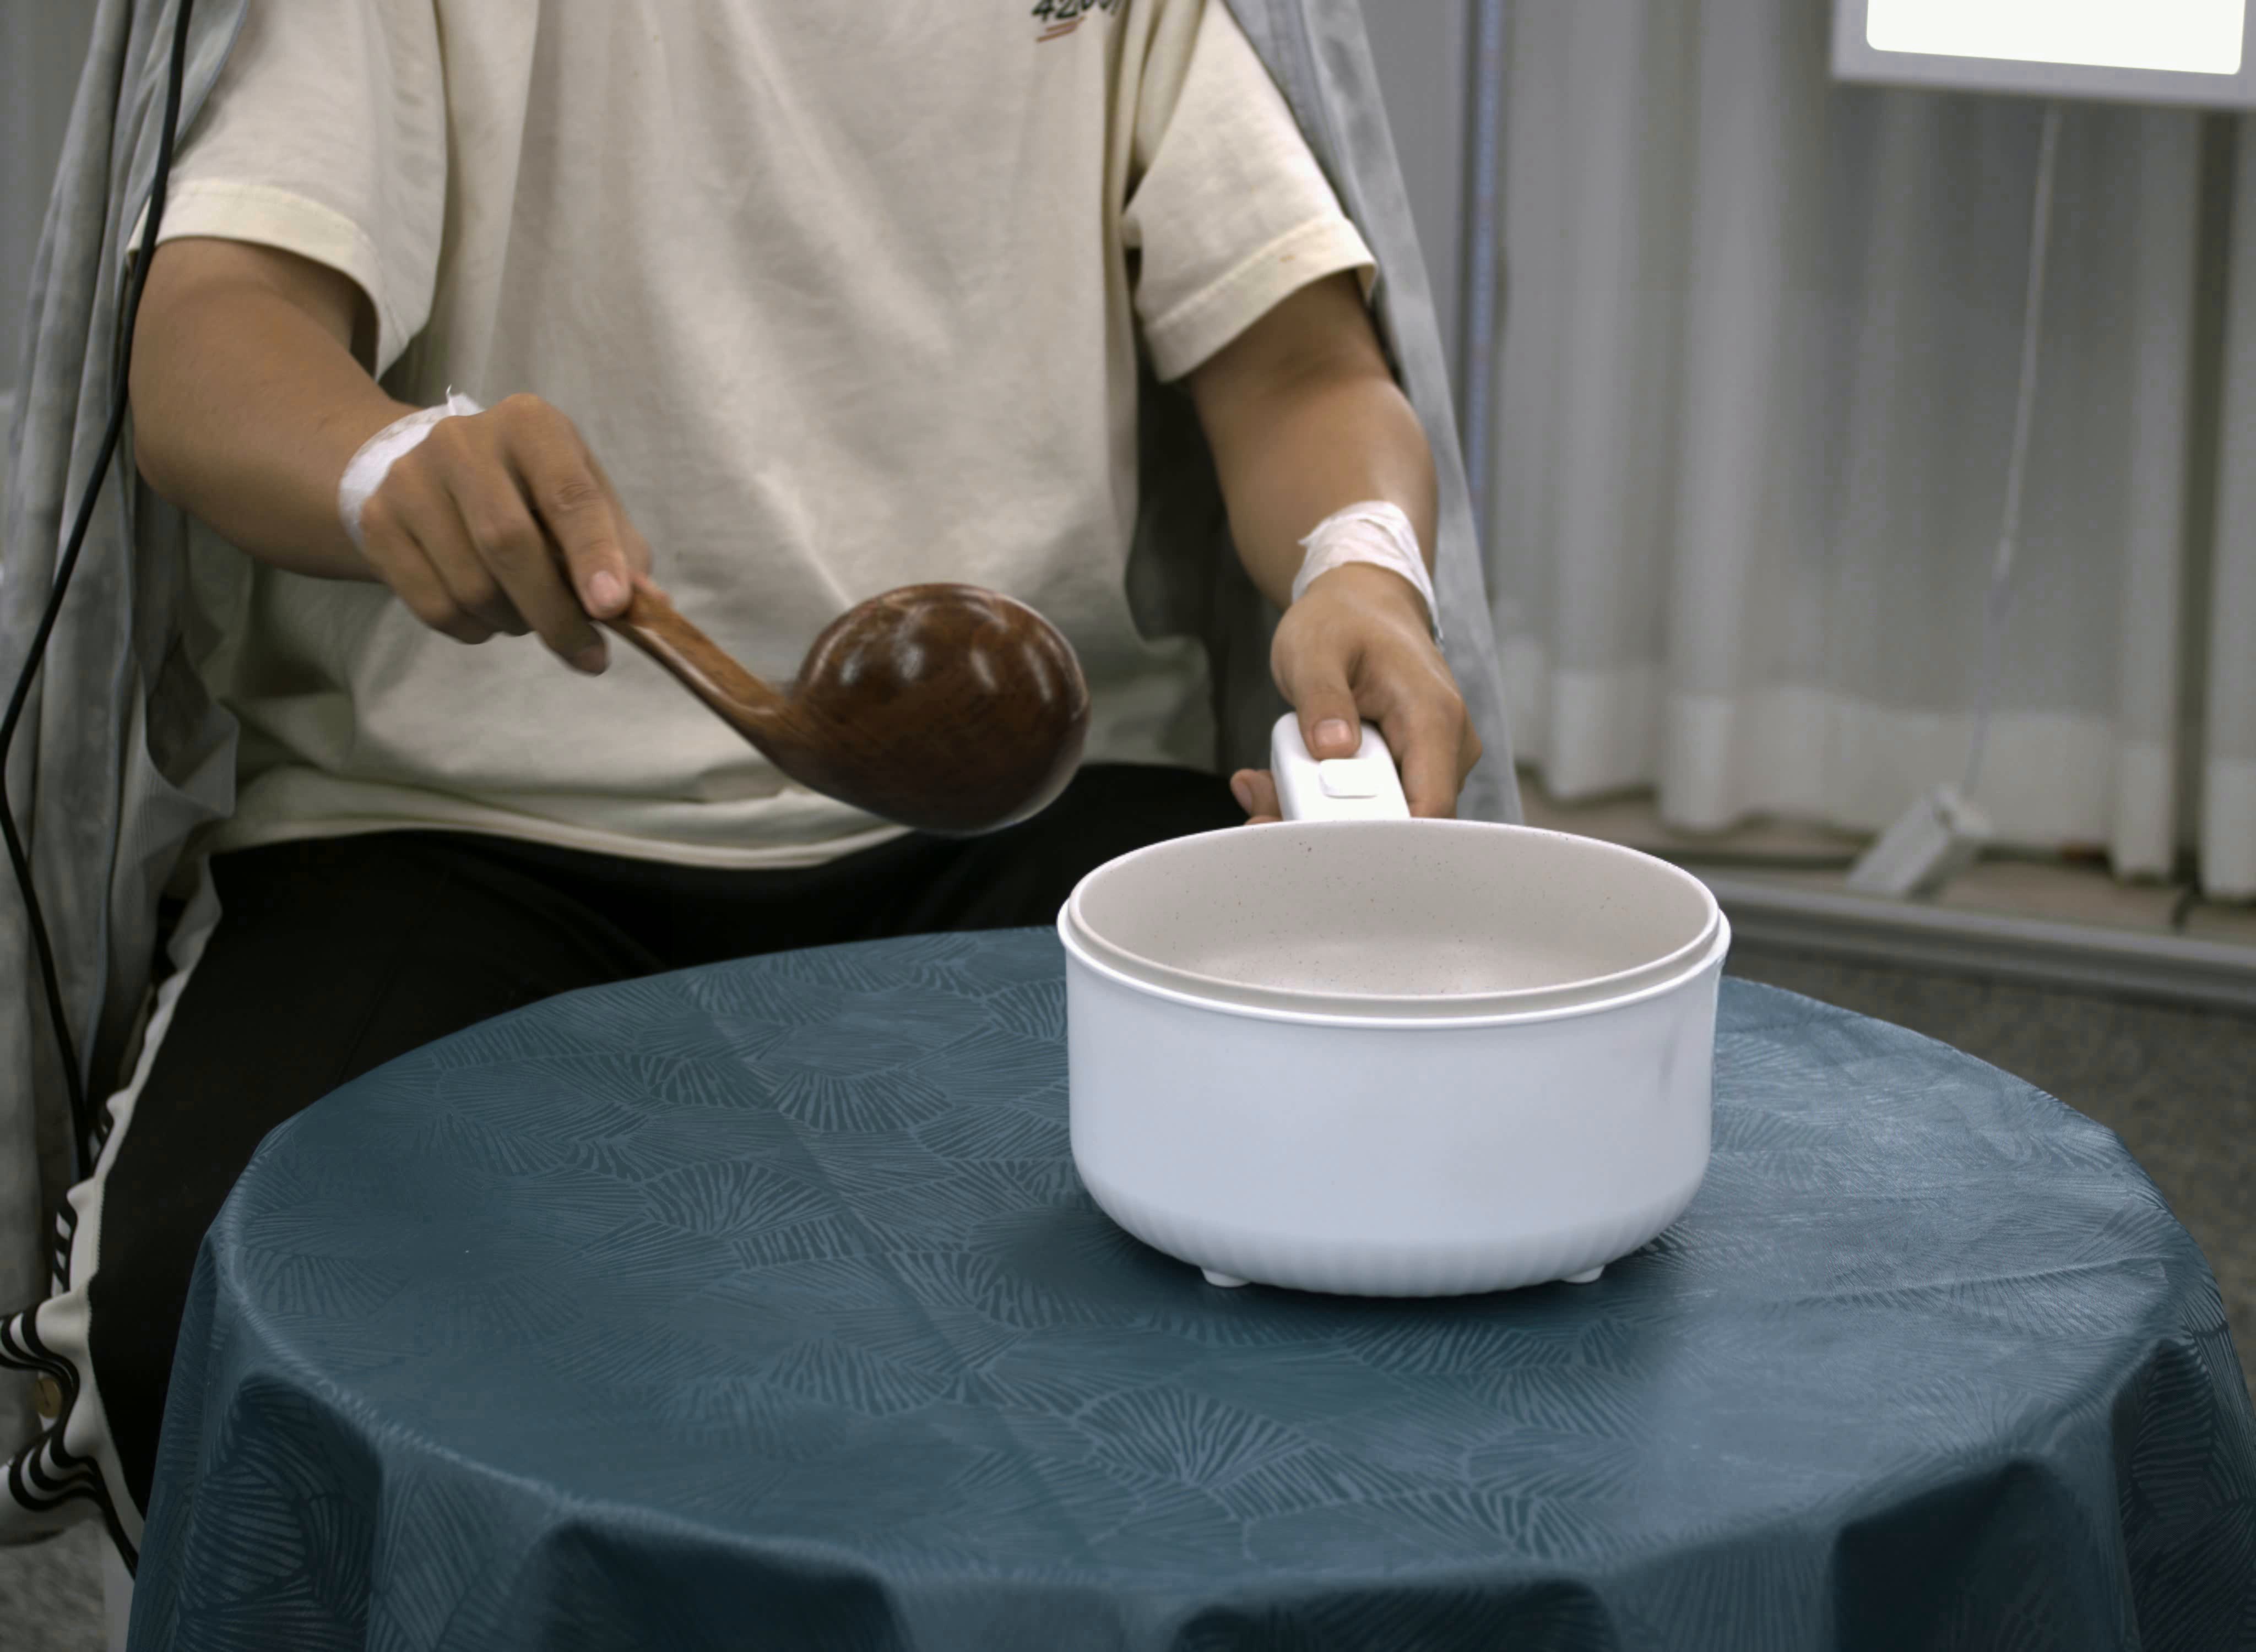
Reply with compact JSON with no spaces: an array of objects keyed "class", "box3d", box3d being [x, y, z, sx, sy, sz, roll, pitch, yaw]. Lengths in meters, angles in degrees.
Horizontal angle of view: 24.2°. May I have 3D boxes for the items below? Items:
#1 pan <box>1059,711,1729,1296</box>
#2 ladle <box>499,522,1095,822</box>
[{"class":"pan","box3d":[0.077,0.051,1.662,0.201,0.103,0.352,0,15,-2]},{"class":"ladle","box3d":[-0.101,-0.066,1.532,0.076,0.083,0.270,-36,32,-14]}]
